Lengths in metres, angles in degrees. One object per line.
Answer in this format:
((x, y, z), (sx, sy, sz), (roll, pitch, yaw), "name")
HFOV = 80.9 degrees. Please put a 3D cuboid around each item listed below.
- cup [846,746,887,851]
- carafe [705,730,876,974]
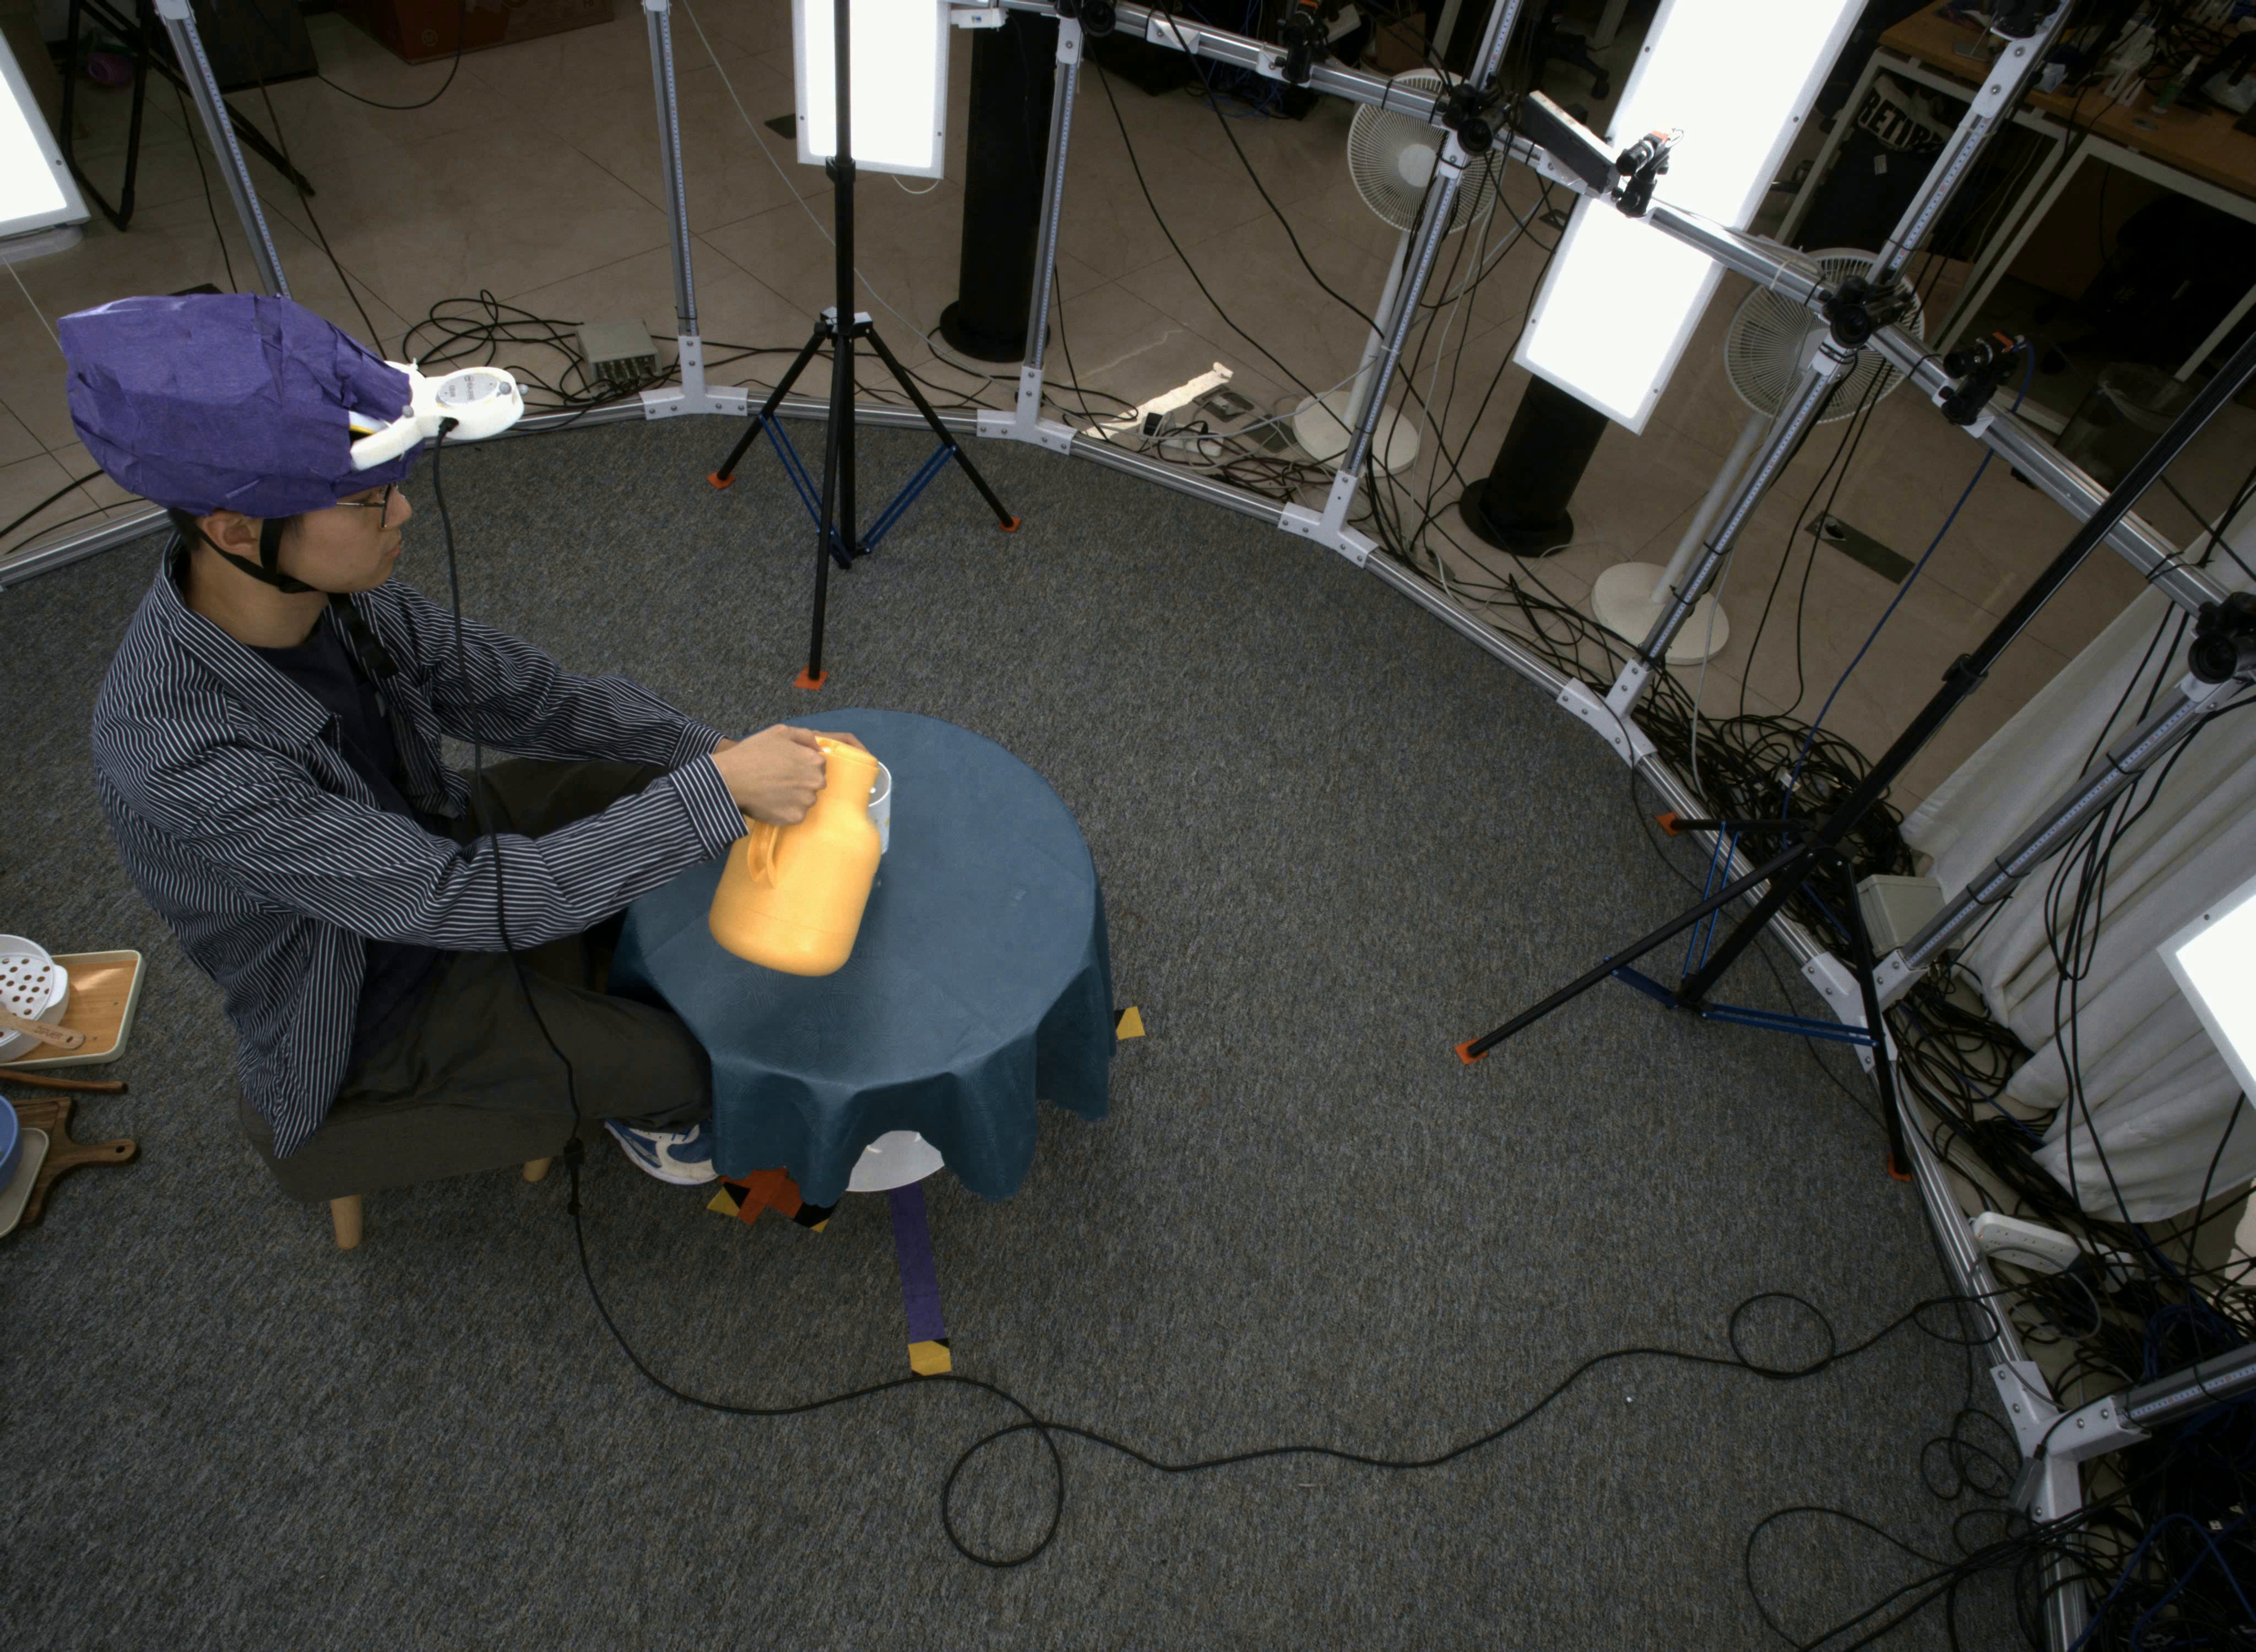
((-0.342, -0.030, 1.639), (0.081, 0.128, 0.080), (4, 54, -4), "cup")
((-0.375, 0.023, 1.453), (0.160, 0.204, 0.263), (17, 90, 9), "carafe")
